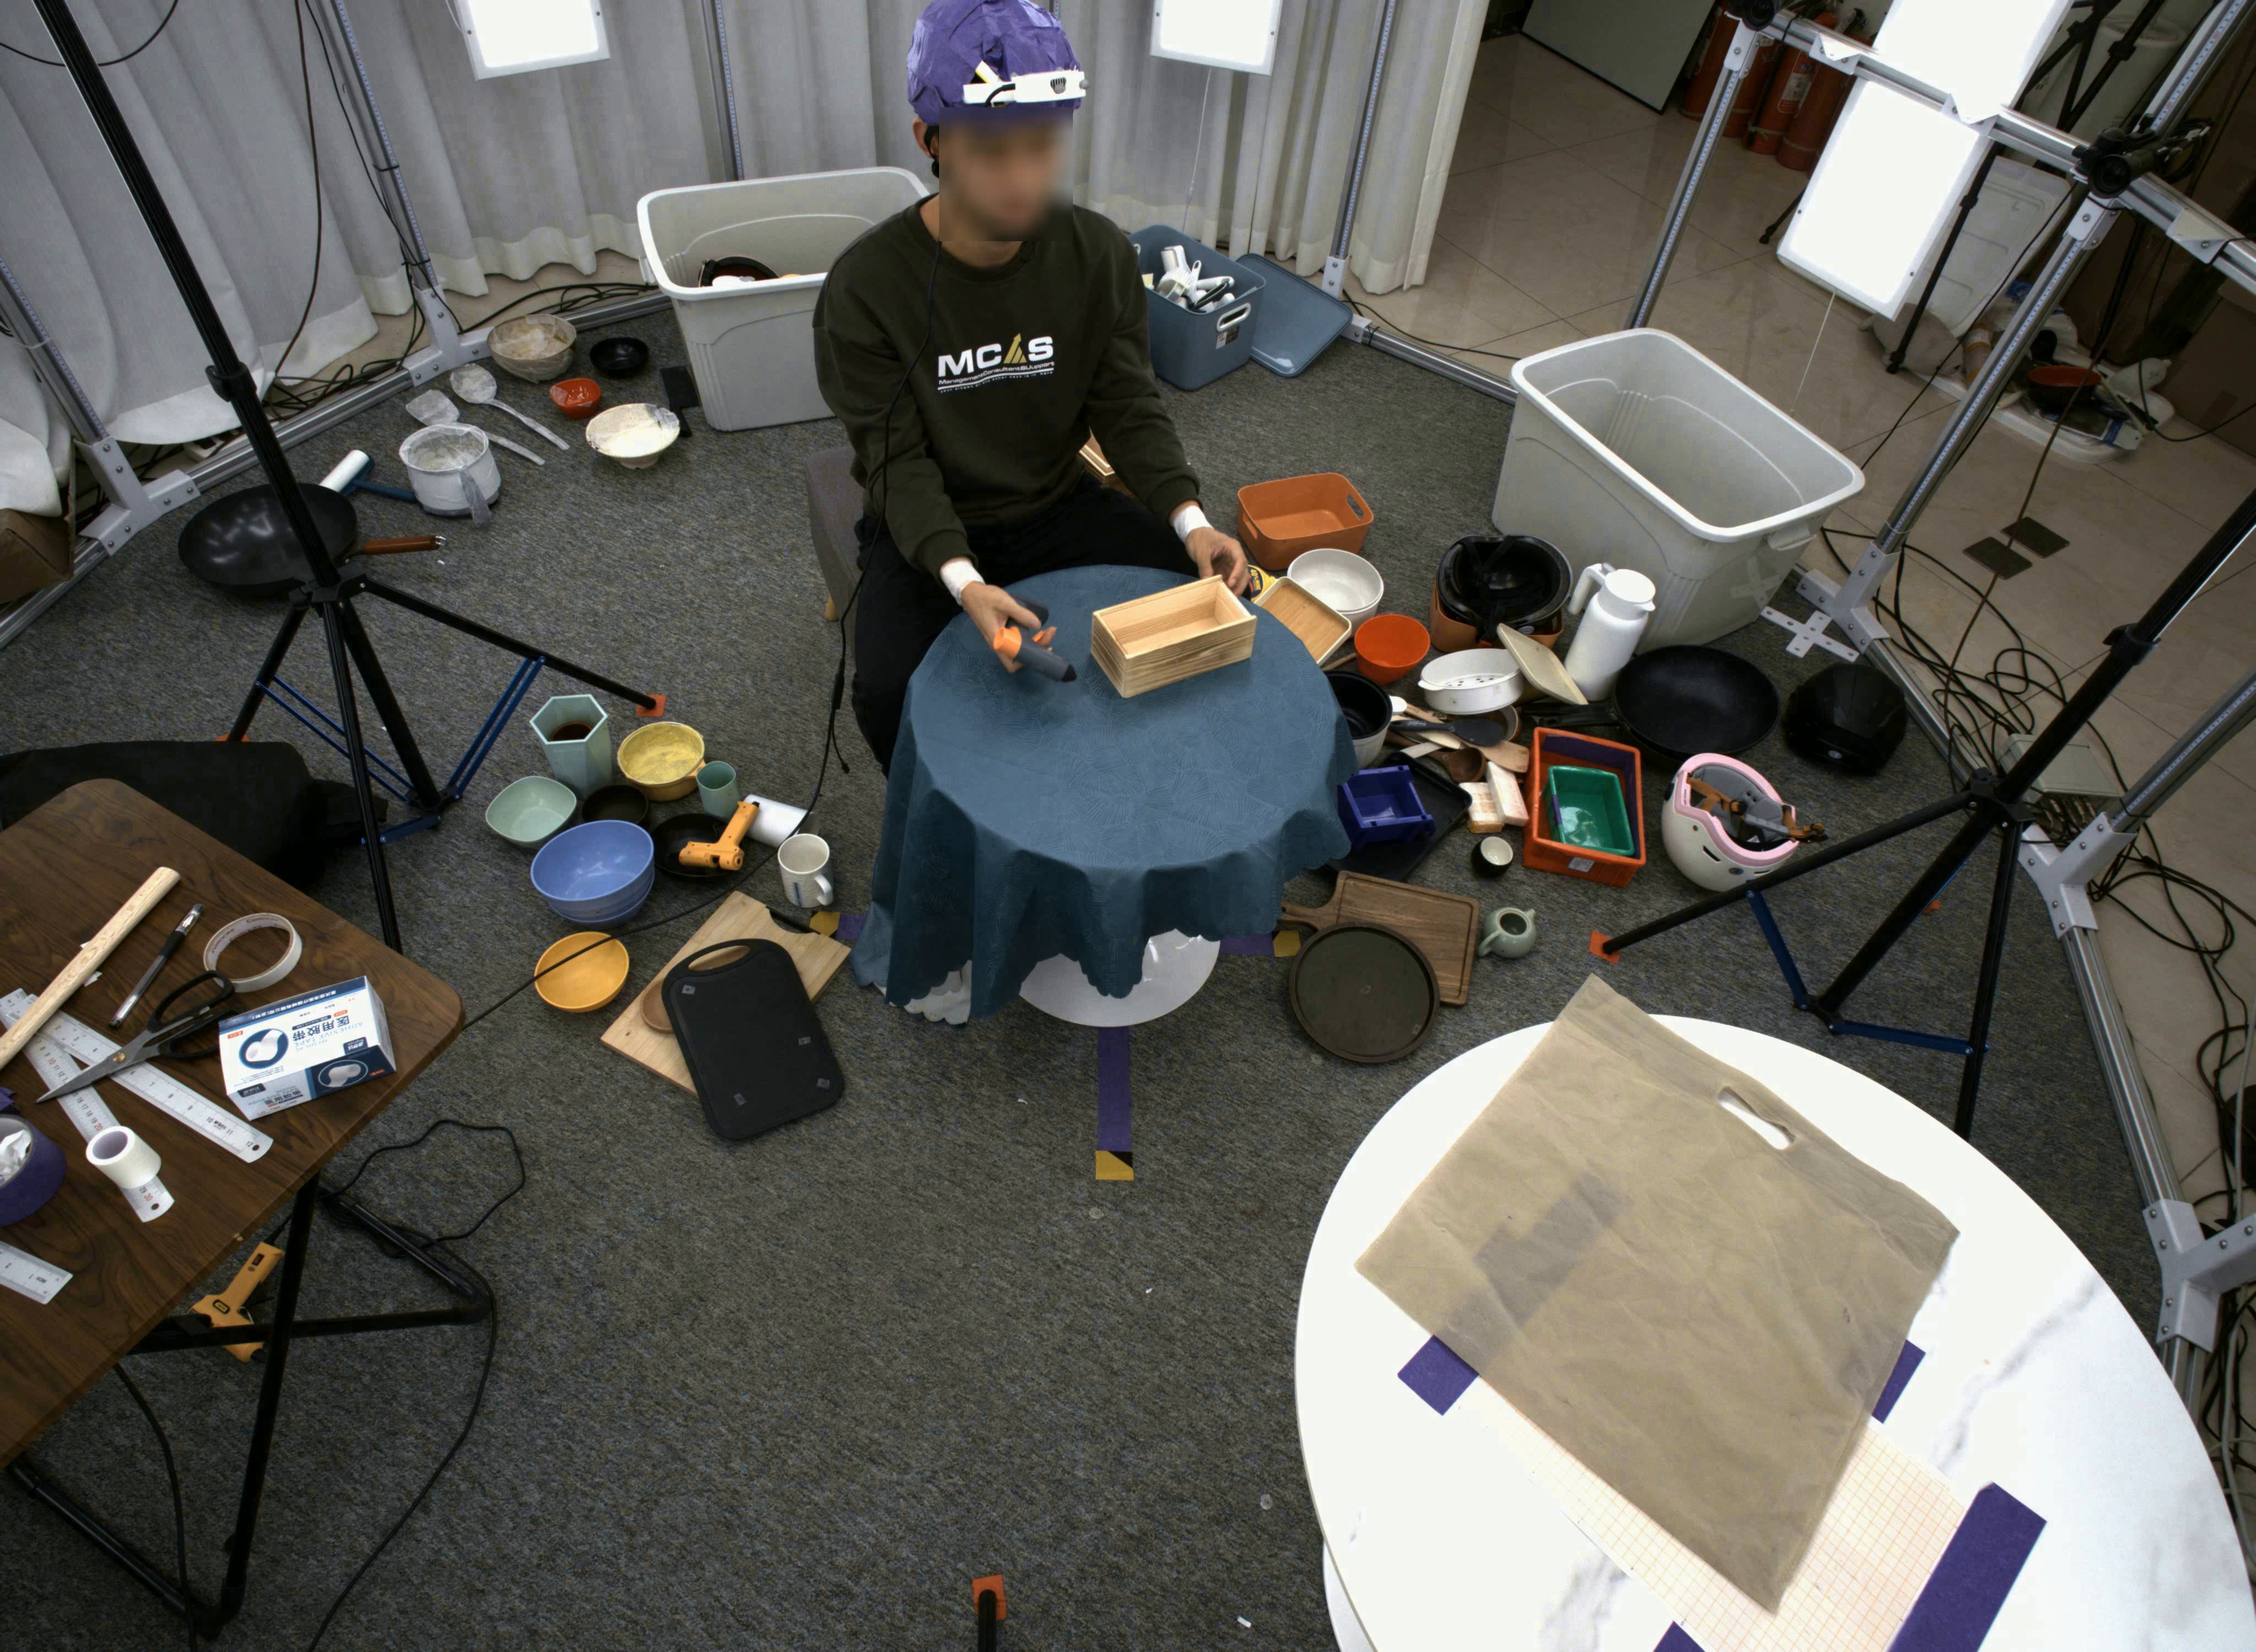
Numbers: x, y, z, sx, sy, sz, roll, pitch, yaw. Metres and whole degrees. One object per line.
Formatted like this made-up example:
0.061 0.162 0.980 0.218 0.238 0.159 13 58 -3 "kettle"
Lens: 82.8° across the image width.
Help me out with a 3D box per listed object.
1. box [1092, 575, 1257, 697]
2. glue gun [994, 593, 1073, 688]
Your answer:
0.065 -0.276 1.853 0.212 0.078 0.110 -20 52 -20 "box"
-0.133 -0.257 1.789 0.116 0.040 0.143 25 33 -33 "glue gun"
